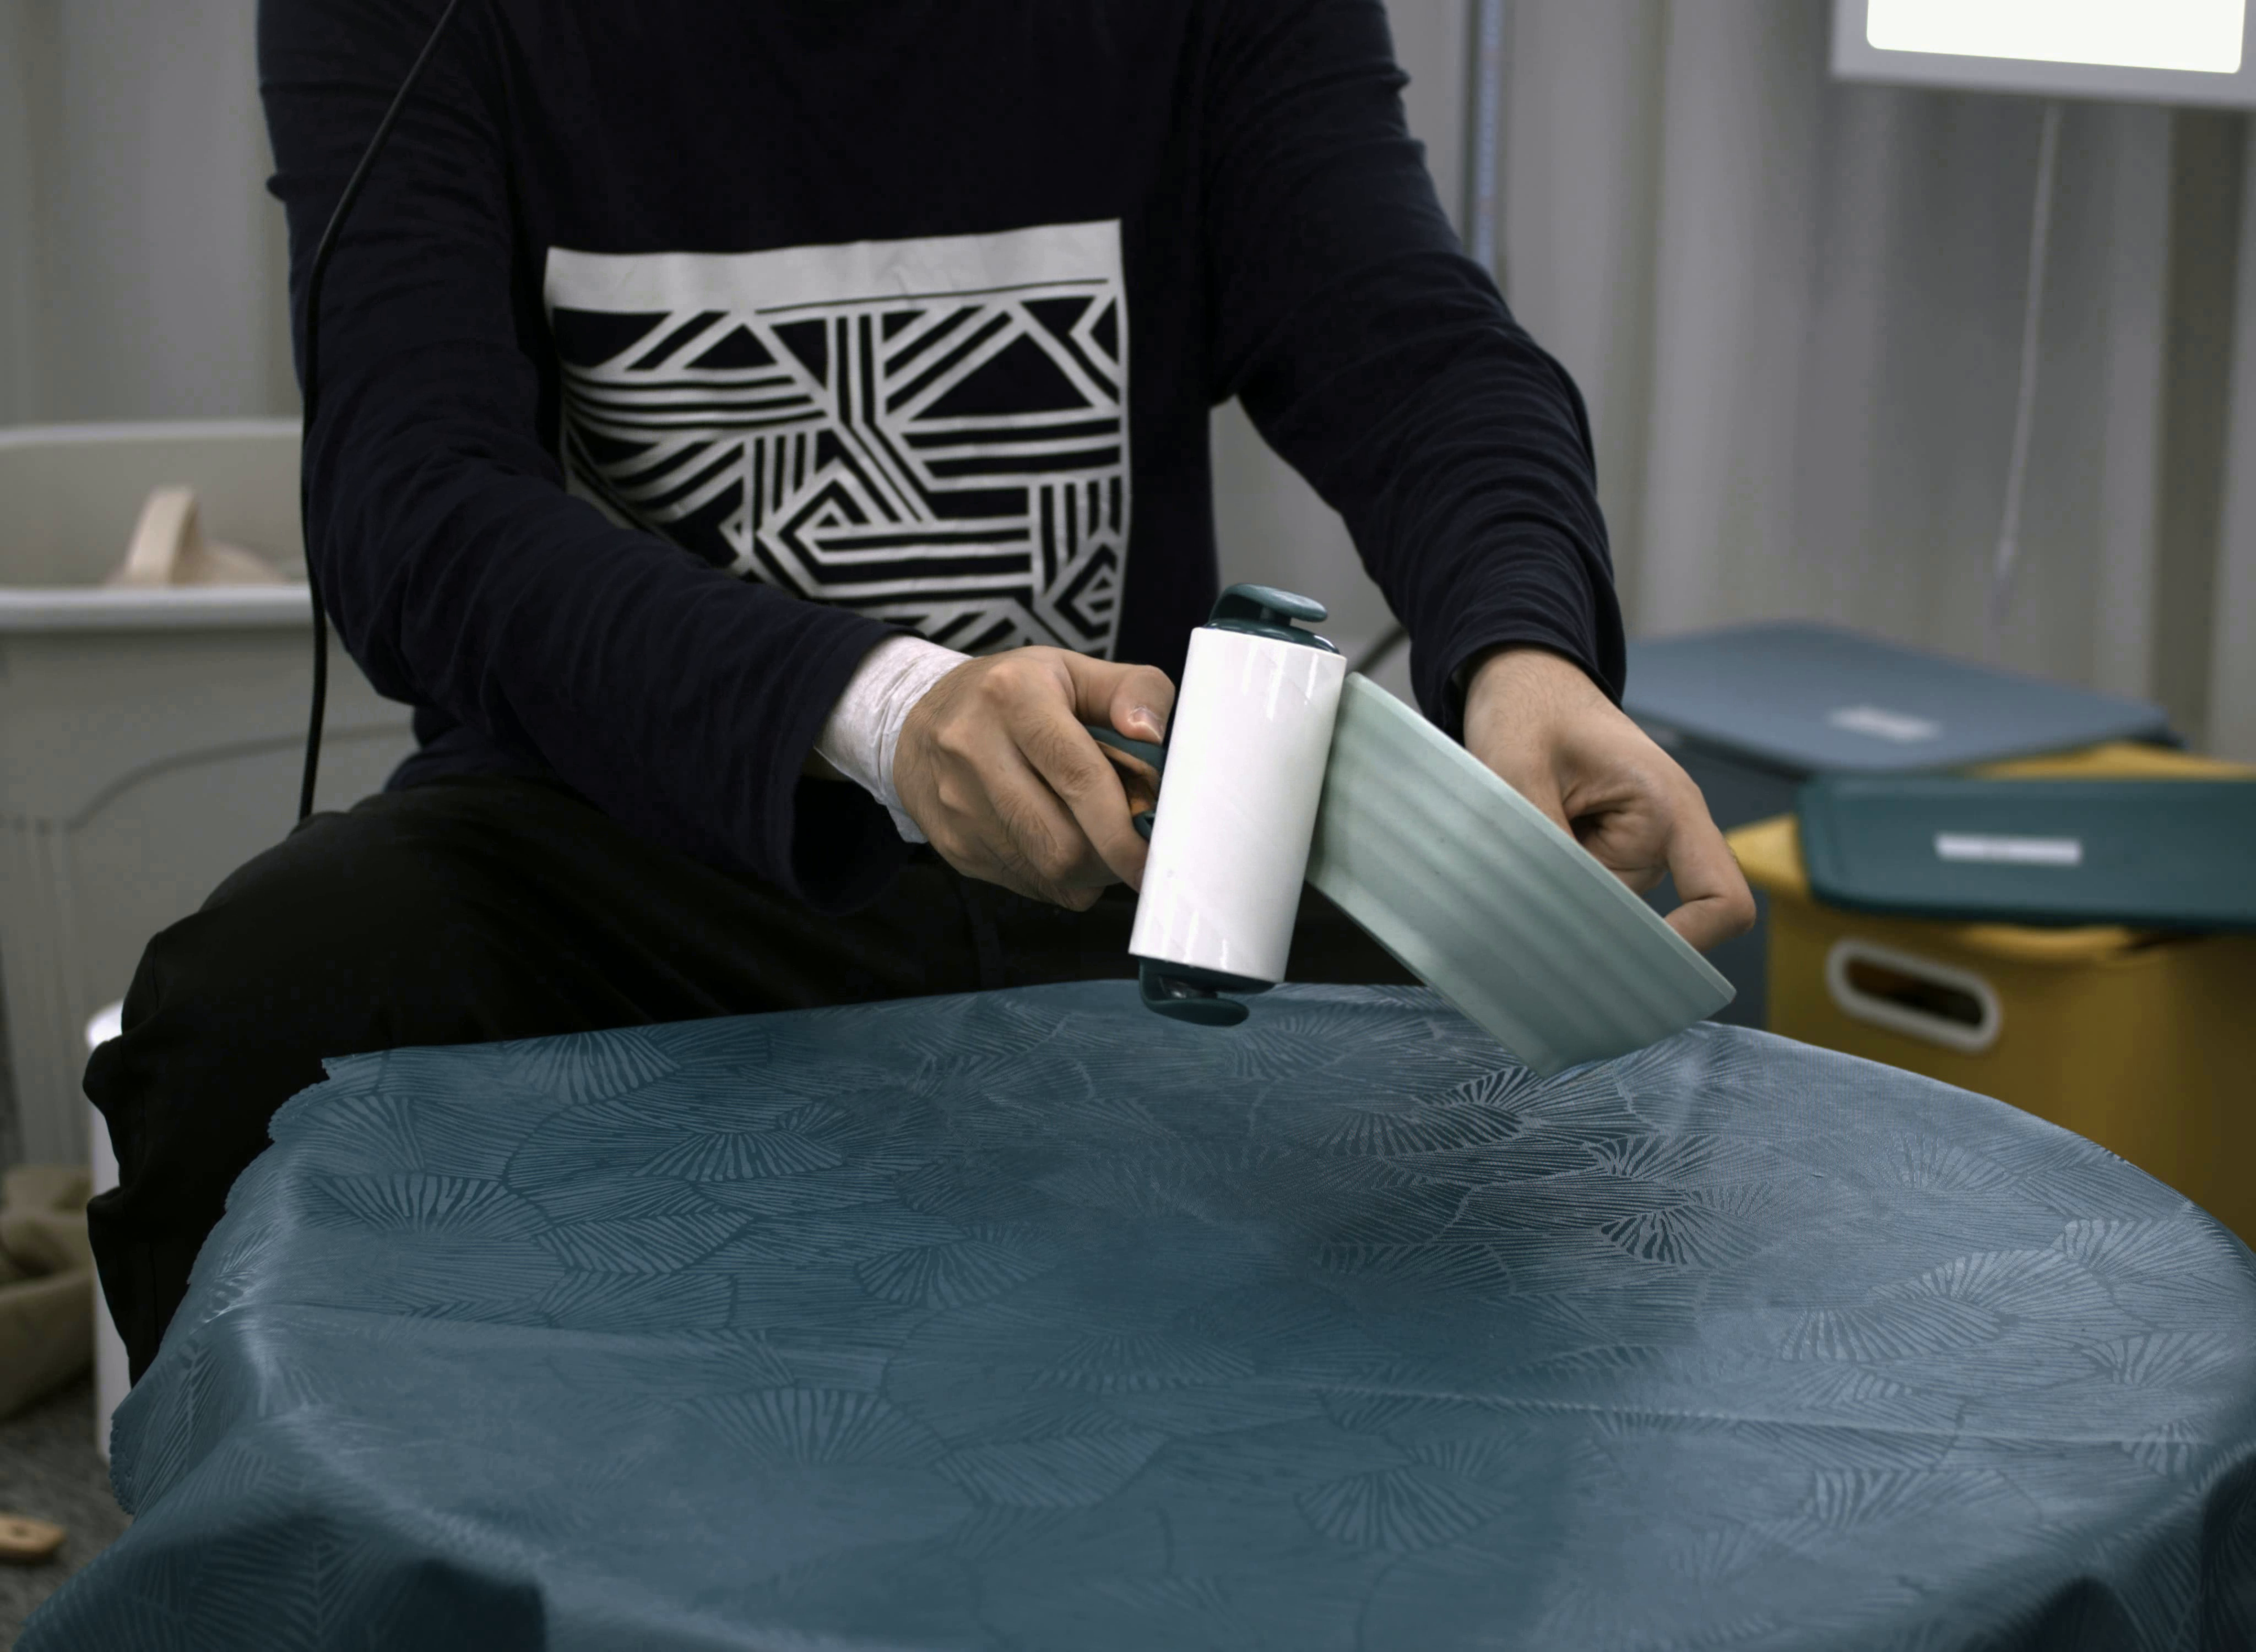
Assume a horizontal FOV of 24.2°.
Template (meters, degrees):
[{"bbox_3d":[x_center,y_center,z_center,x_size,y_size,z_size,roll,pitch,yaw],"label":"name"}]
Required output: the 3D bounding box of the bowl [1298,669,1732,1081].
[{"bbox_3d":[0.105,0.023,1.577,0.151,0.058,0.151,41,3,-2],"label":"bowl"}]

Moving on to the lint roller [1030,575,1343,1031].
[{"bbox_3d":[-0.002,-0.010,1.614,0.049,0.134,0.178,12,-2,-31],"label":"lint roller"}]
